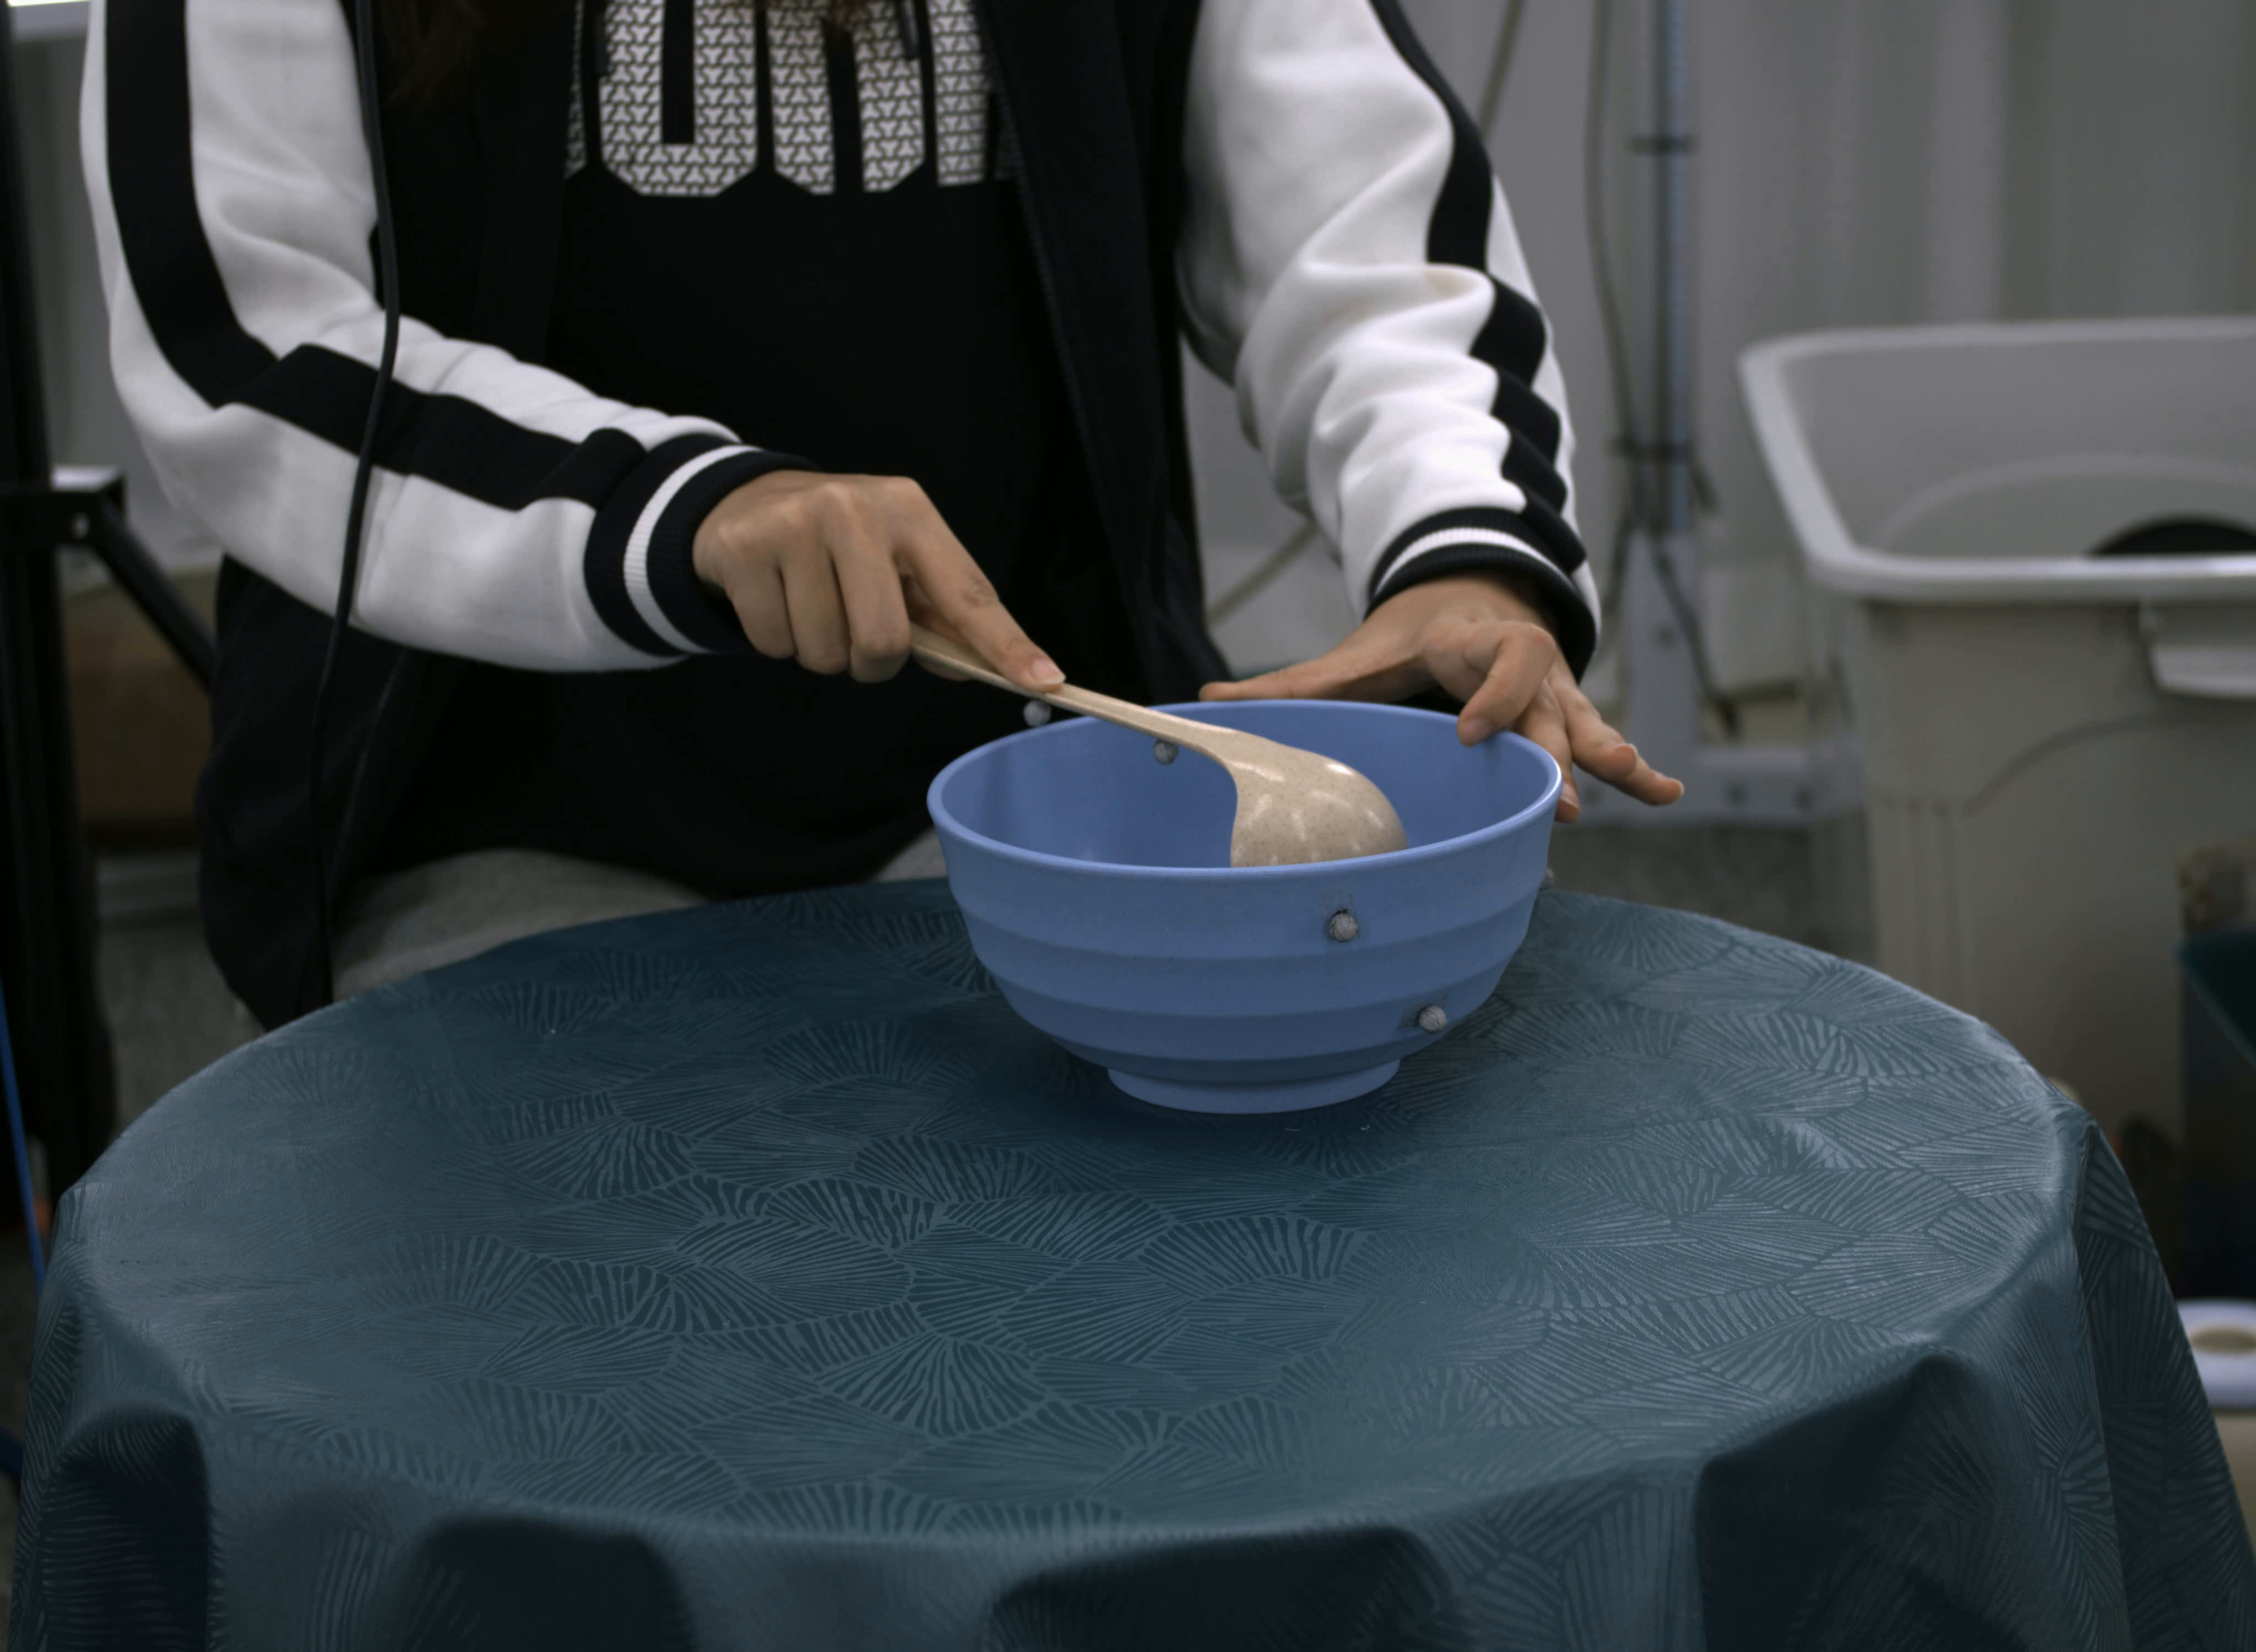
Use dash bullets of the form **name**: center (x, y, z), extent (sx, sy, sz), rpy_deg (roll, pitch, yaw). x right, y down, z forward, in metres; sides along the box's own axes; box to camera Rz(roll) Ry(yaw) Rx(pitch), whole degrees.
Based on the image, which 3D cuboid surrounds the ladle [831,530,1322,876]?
- **ladle**: center (-0.037, -0.021, 1.700), extent (0.260, 0.070, 0.072), rpy_deg (31, 78, 42)

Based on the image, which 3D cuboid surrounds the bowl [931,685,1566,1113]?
- **bowl**: center (0.037, 0.029, 1.652), extent (0.195, 0.095, 0.197), rpy_deg (-1, 18, -1)
